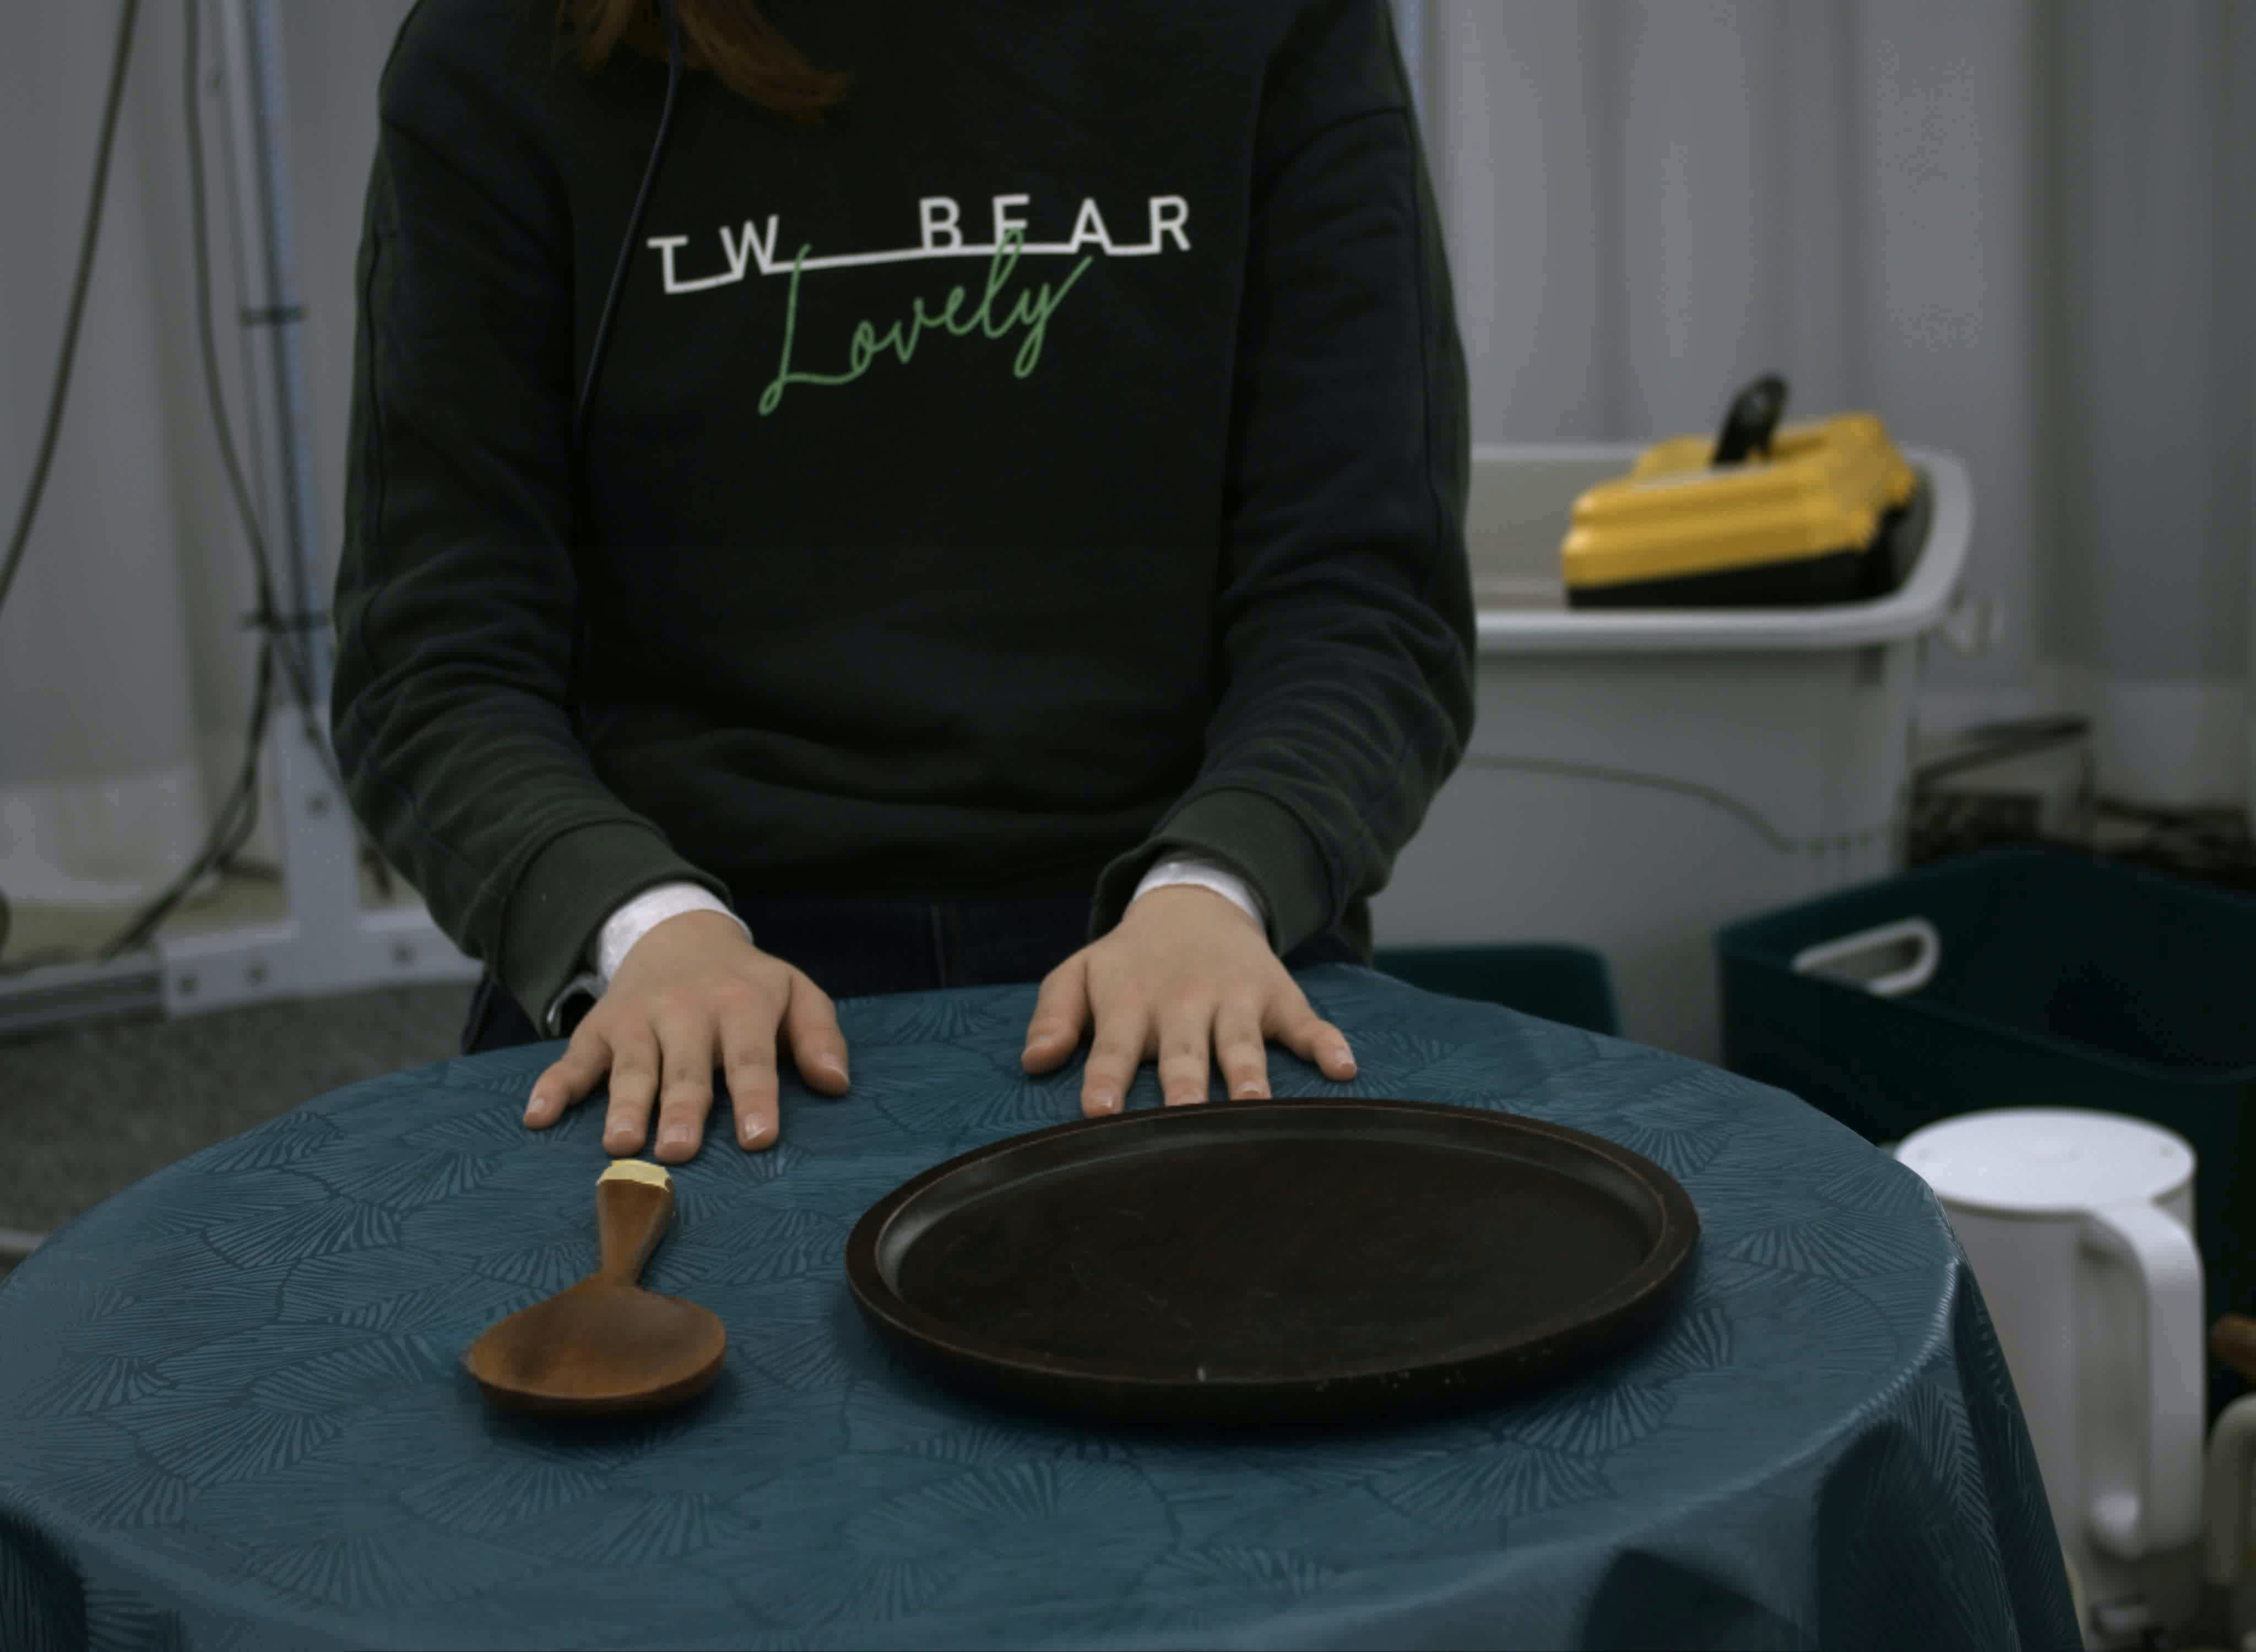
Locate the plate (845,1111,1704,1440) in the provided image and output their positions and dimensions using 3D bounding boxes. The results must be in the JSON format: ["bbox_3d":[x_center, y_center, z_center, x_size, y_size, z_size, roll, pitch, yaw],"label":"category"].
[{"bbox_3d":[0.043,0.129,1.610,0.254,0.029,0.256,-2,16,0],"label":"plate"}]

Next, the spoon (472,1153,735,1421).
[{"bbox_3d":[-0.152,0.138,1.623,0.075,0.017,0.217,-3,15,-1],"label":"spoon"}]
